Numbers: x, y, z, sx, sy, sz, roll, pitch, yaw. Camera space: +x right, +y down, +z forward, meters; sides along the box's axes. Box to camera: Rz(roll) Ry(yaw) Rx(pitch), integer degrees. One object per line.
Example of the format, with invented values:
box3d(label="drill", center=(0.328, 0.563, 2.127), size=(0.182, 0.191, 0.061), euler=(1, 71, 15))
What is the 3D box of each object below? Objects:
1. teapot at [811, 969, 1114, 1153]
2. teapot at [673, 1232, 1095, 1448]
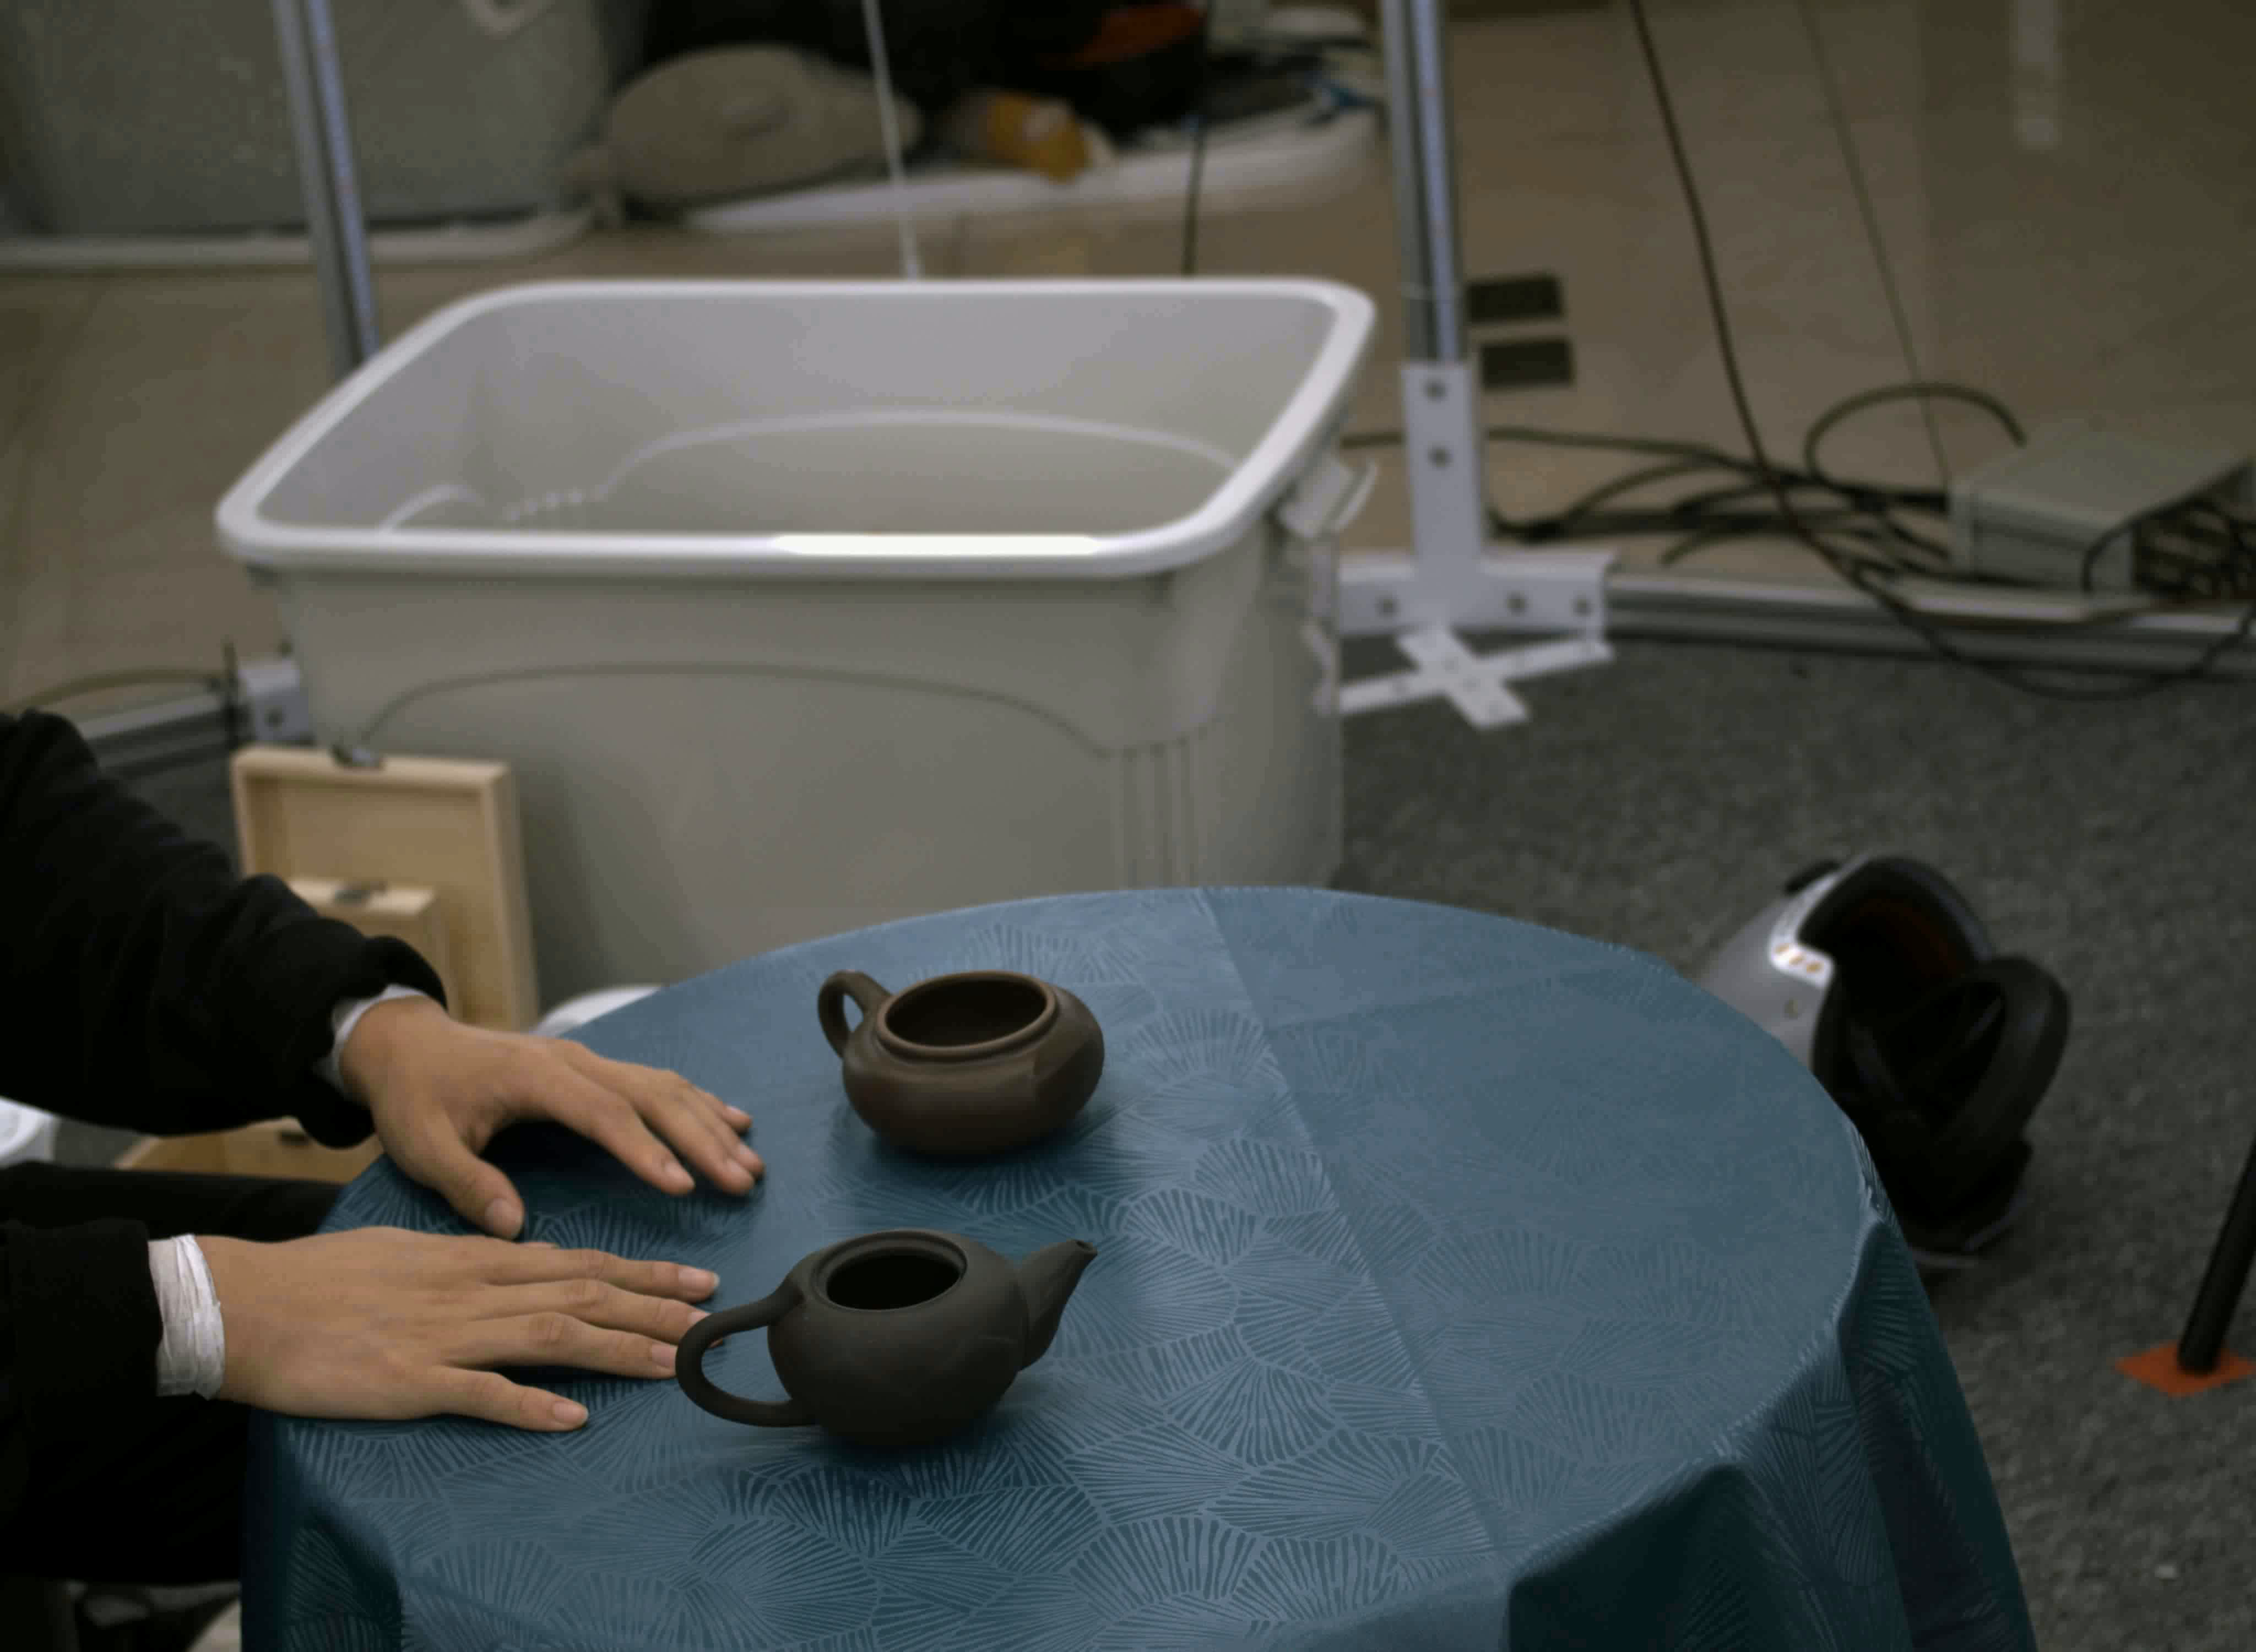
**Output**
box3d(label="teapot", center=(-0.064, 0.089, 2.207), size=(0.152, 0.054, 0.101), euler=(13, 30, 35))
box3d(label="teapot", center=(-0.084, 0.181, 2.005), size=(0.154, 0.065, 0.091), euler=(-10, 24, -9))
